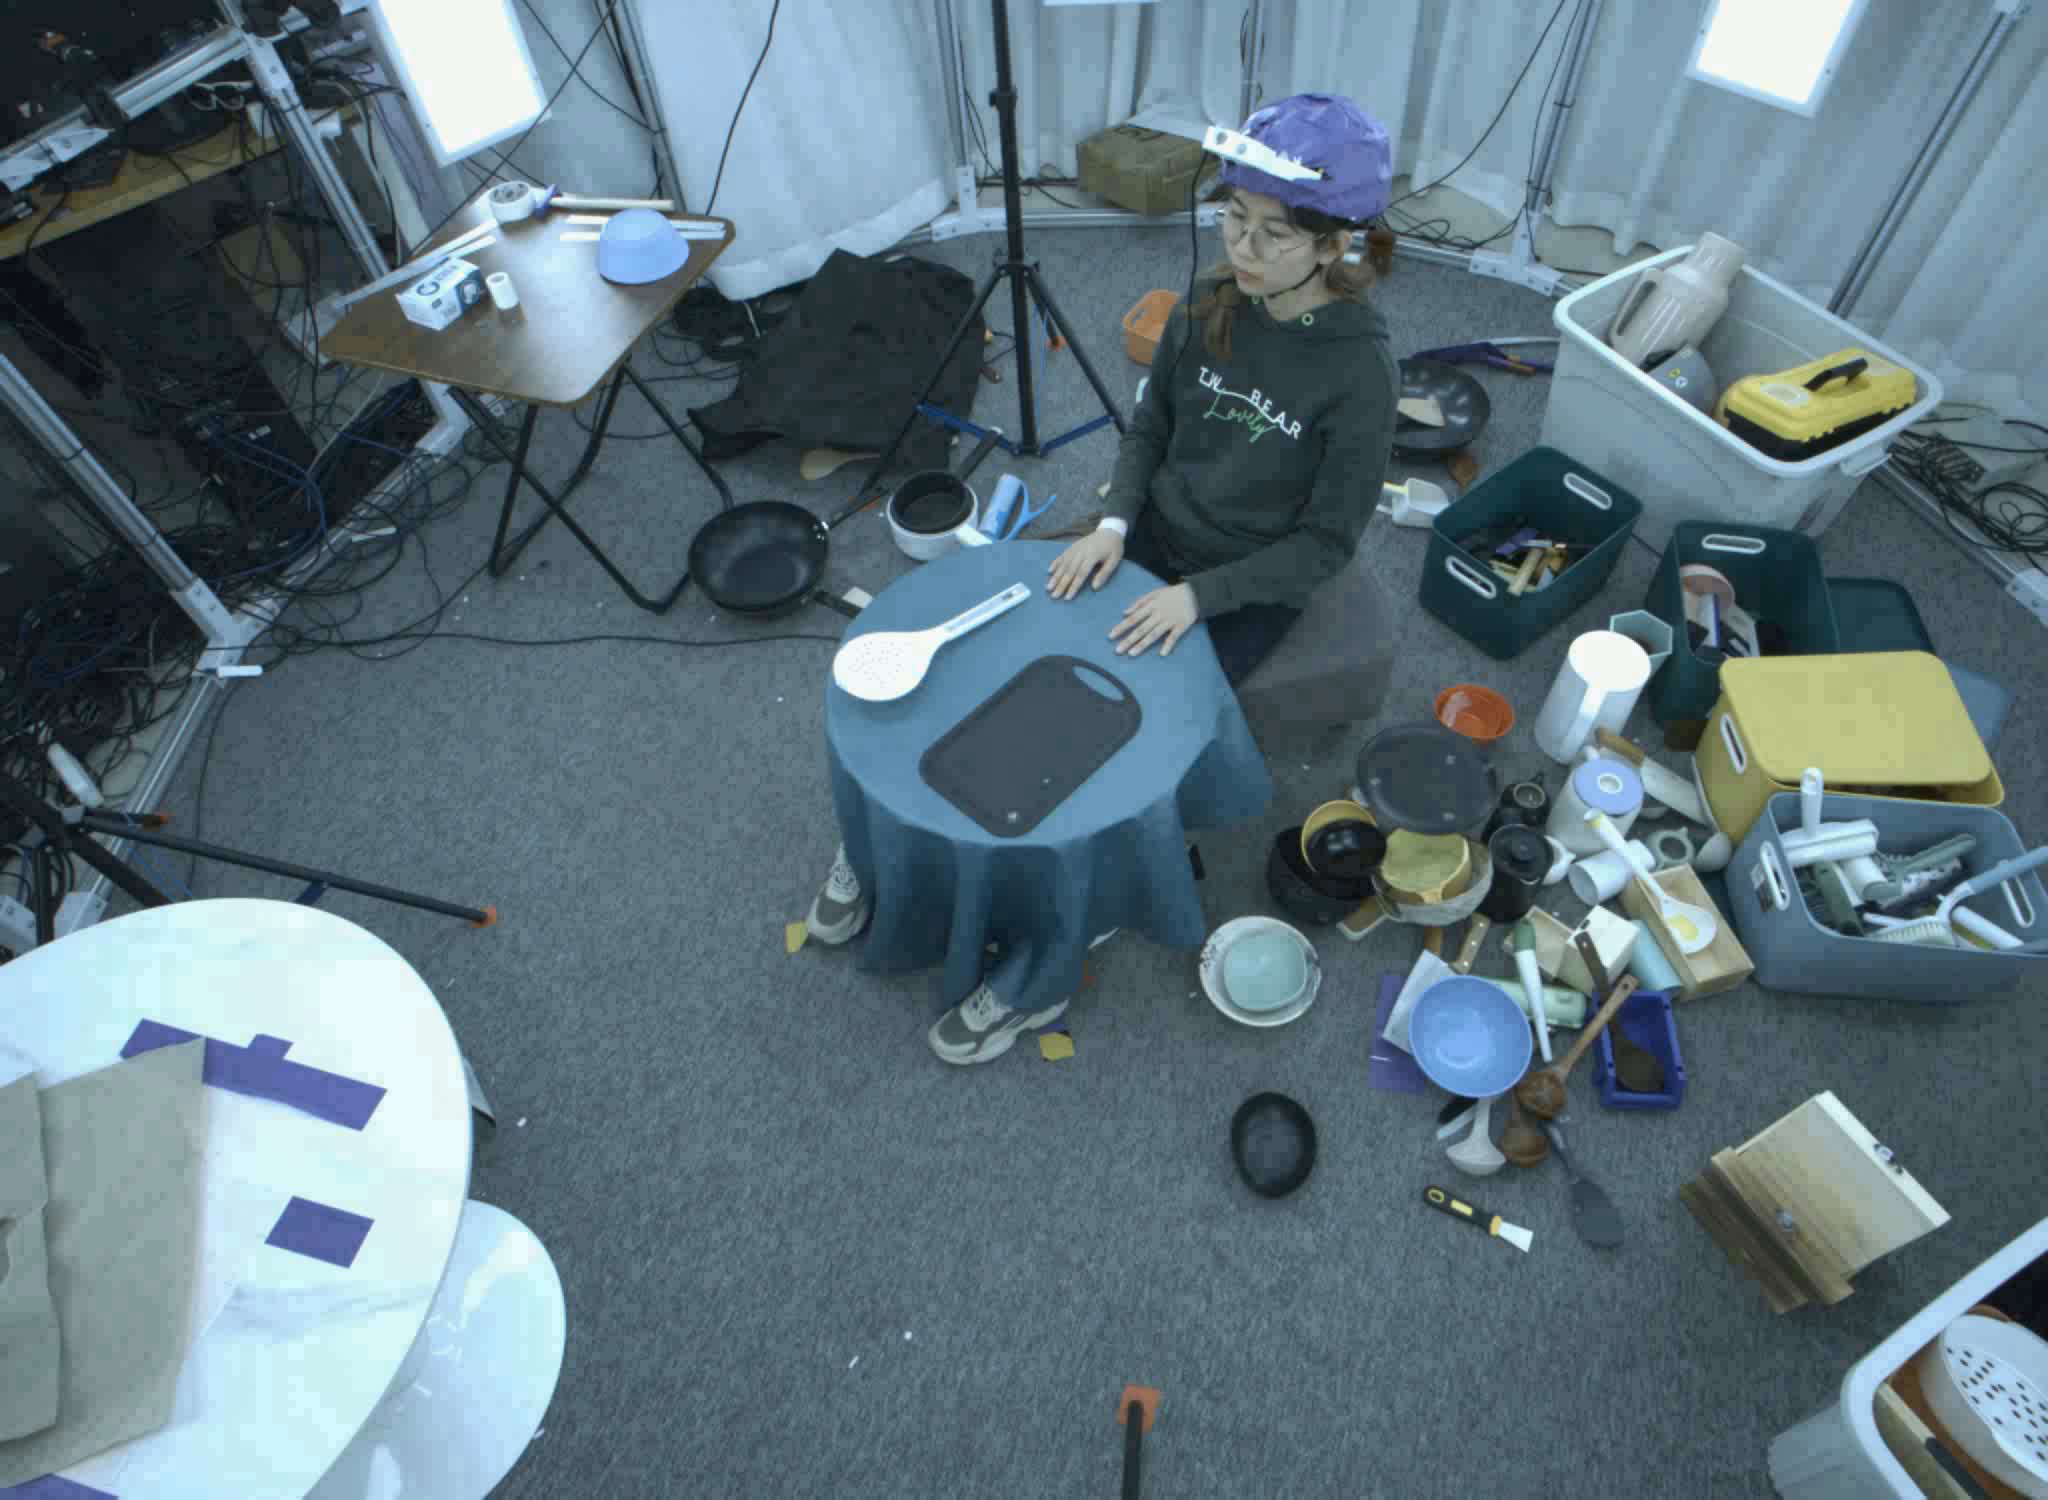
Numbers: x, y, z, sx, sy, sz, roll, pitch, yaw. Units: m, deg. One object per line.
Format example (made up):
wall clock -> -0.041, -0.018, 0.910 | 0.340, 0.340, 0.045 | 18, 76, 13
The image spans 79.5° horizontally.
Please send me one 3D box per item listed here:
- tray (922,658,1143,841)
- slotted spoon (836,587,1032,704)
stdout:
tray -> 0.019, -0.014, 1.803 | 0.207, 0.010, 0.327 | 37, 63, 24
slotted spoon -> -0.132, -0.170, 1.893 | 0.352, 0.046, 0.133 | -34, 63, -21
